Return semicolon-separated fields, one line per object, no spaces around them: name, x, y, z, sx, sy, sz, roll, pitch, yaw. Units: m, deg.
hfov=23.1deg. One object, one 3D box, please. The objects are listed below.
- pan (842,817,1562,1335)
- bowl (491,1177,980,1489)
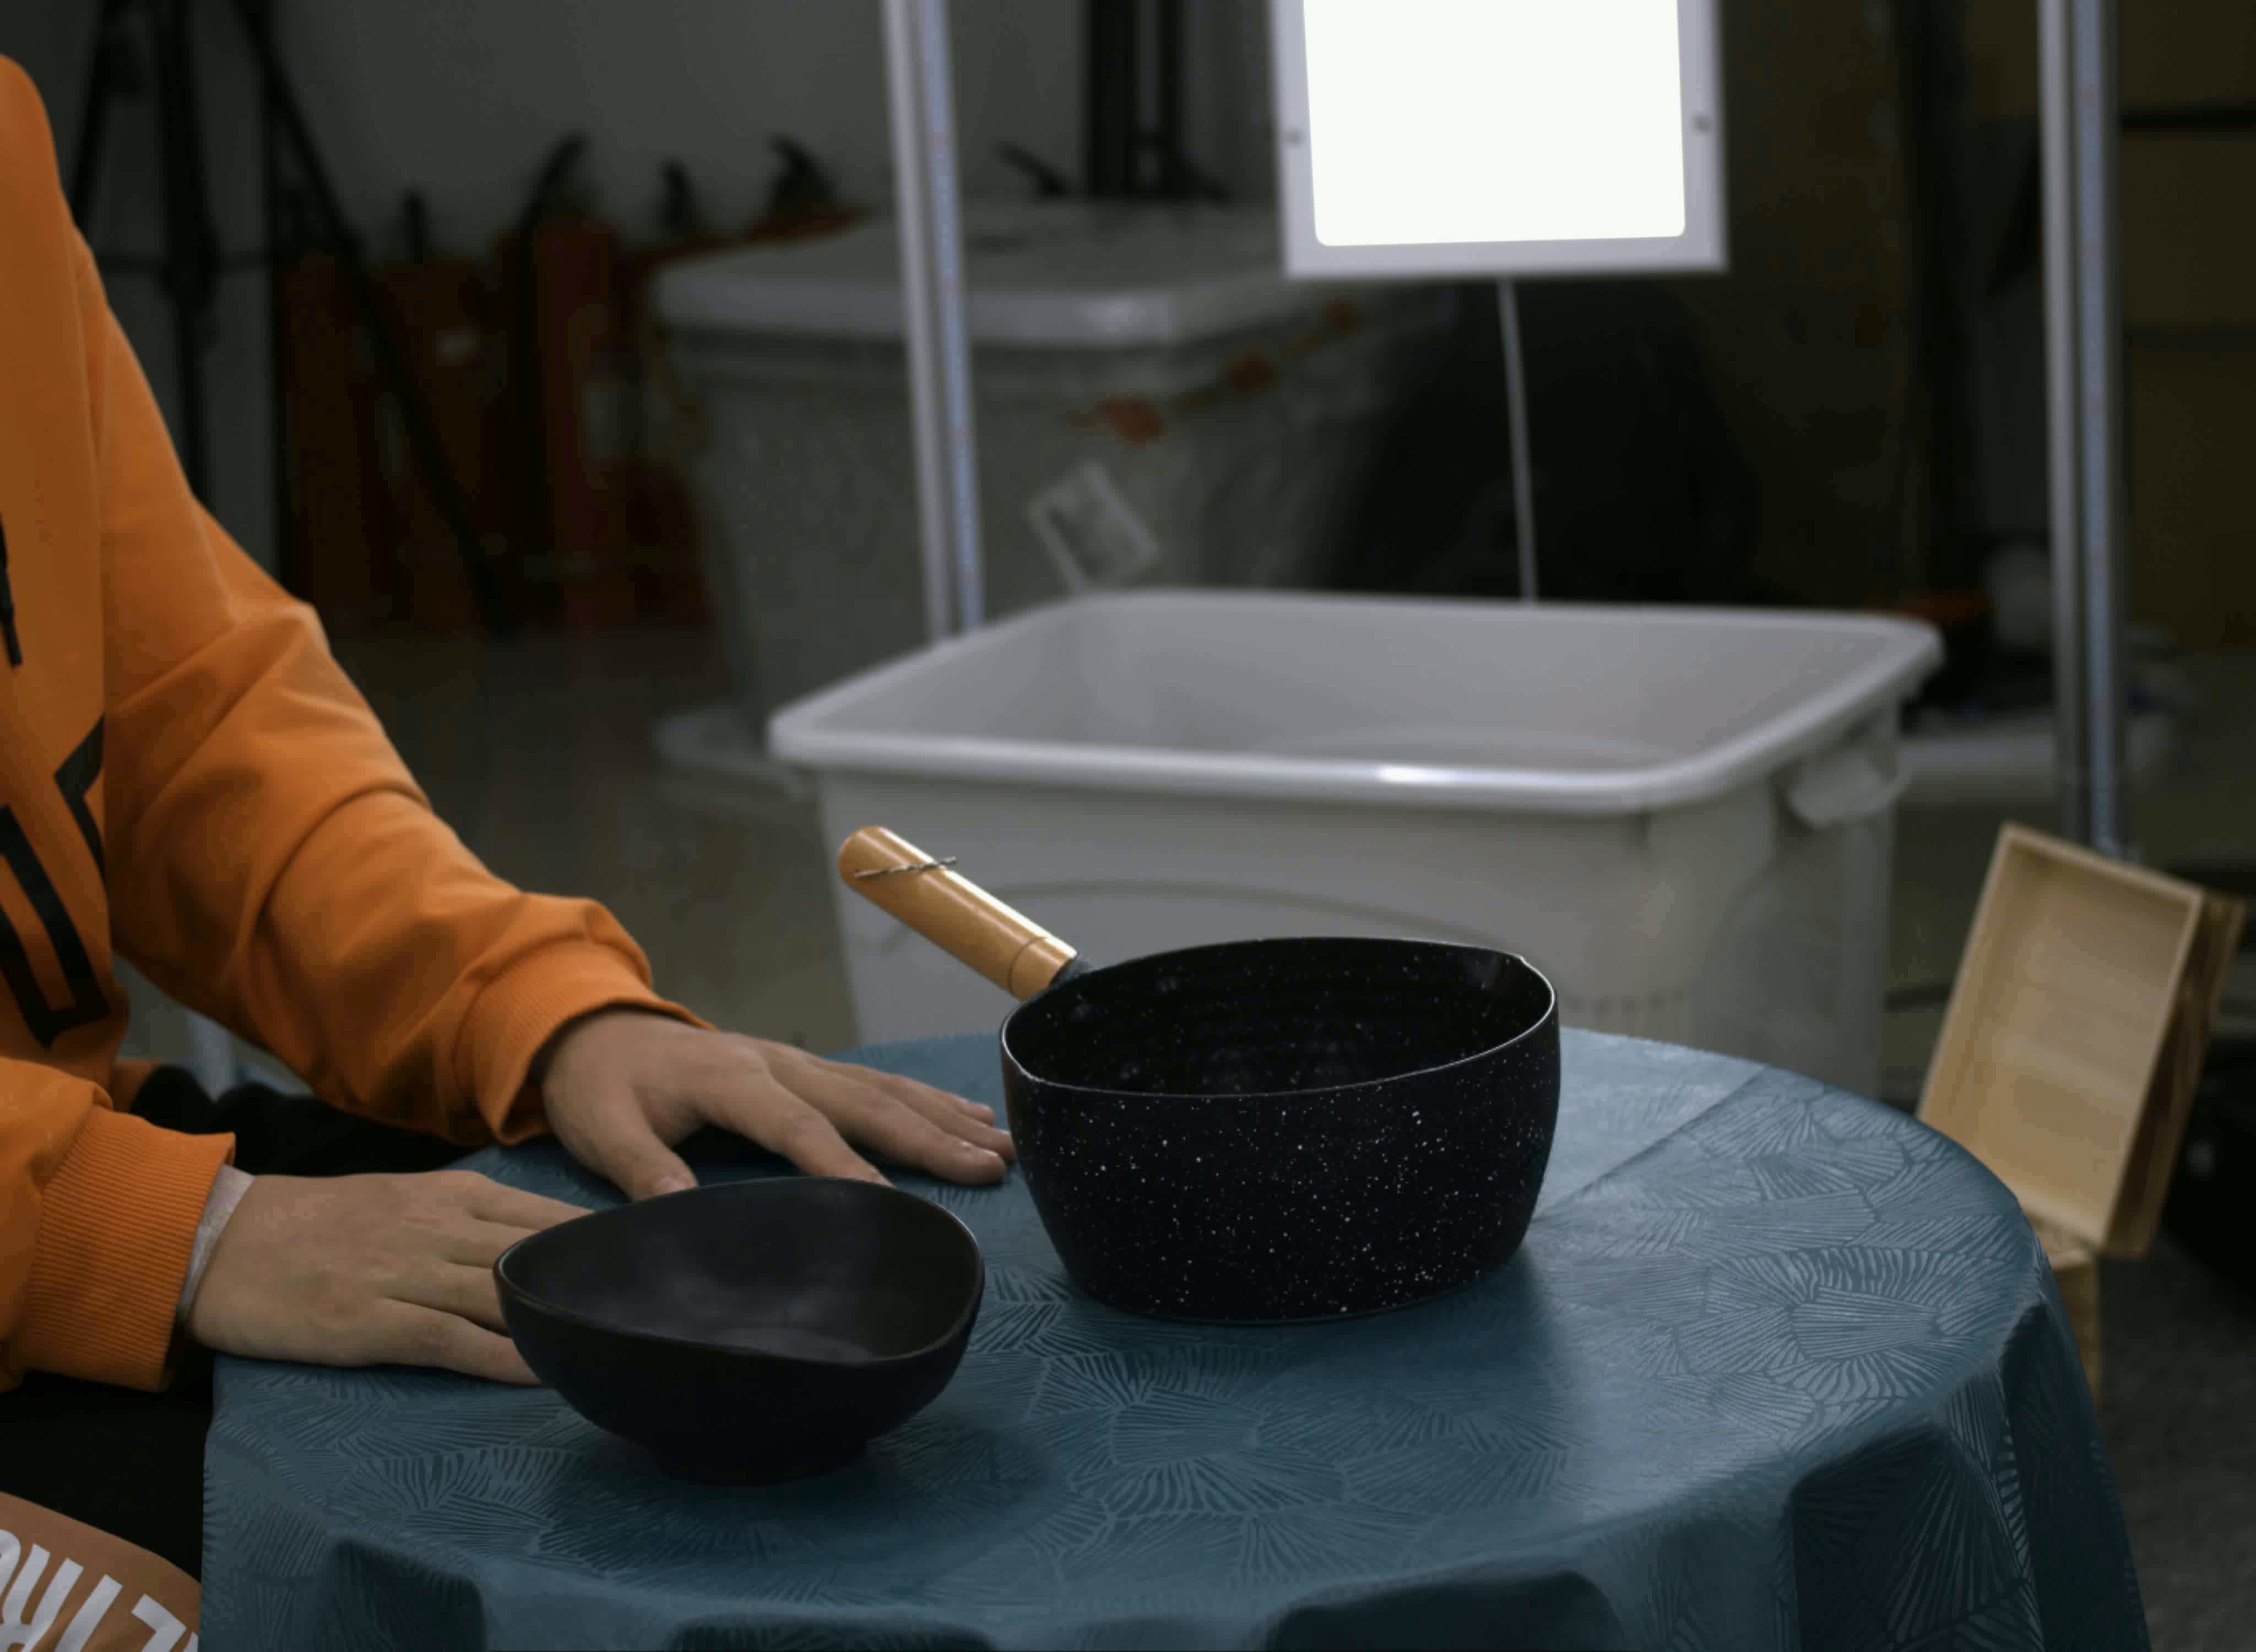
pan;0.004;0.078;1.869;0.202;0.108;0.350;-16;19;-33
bowl;-0.116;0.159;1.677;0.134;0.067;0.174;-17;21;-40
